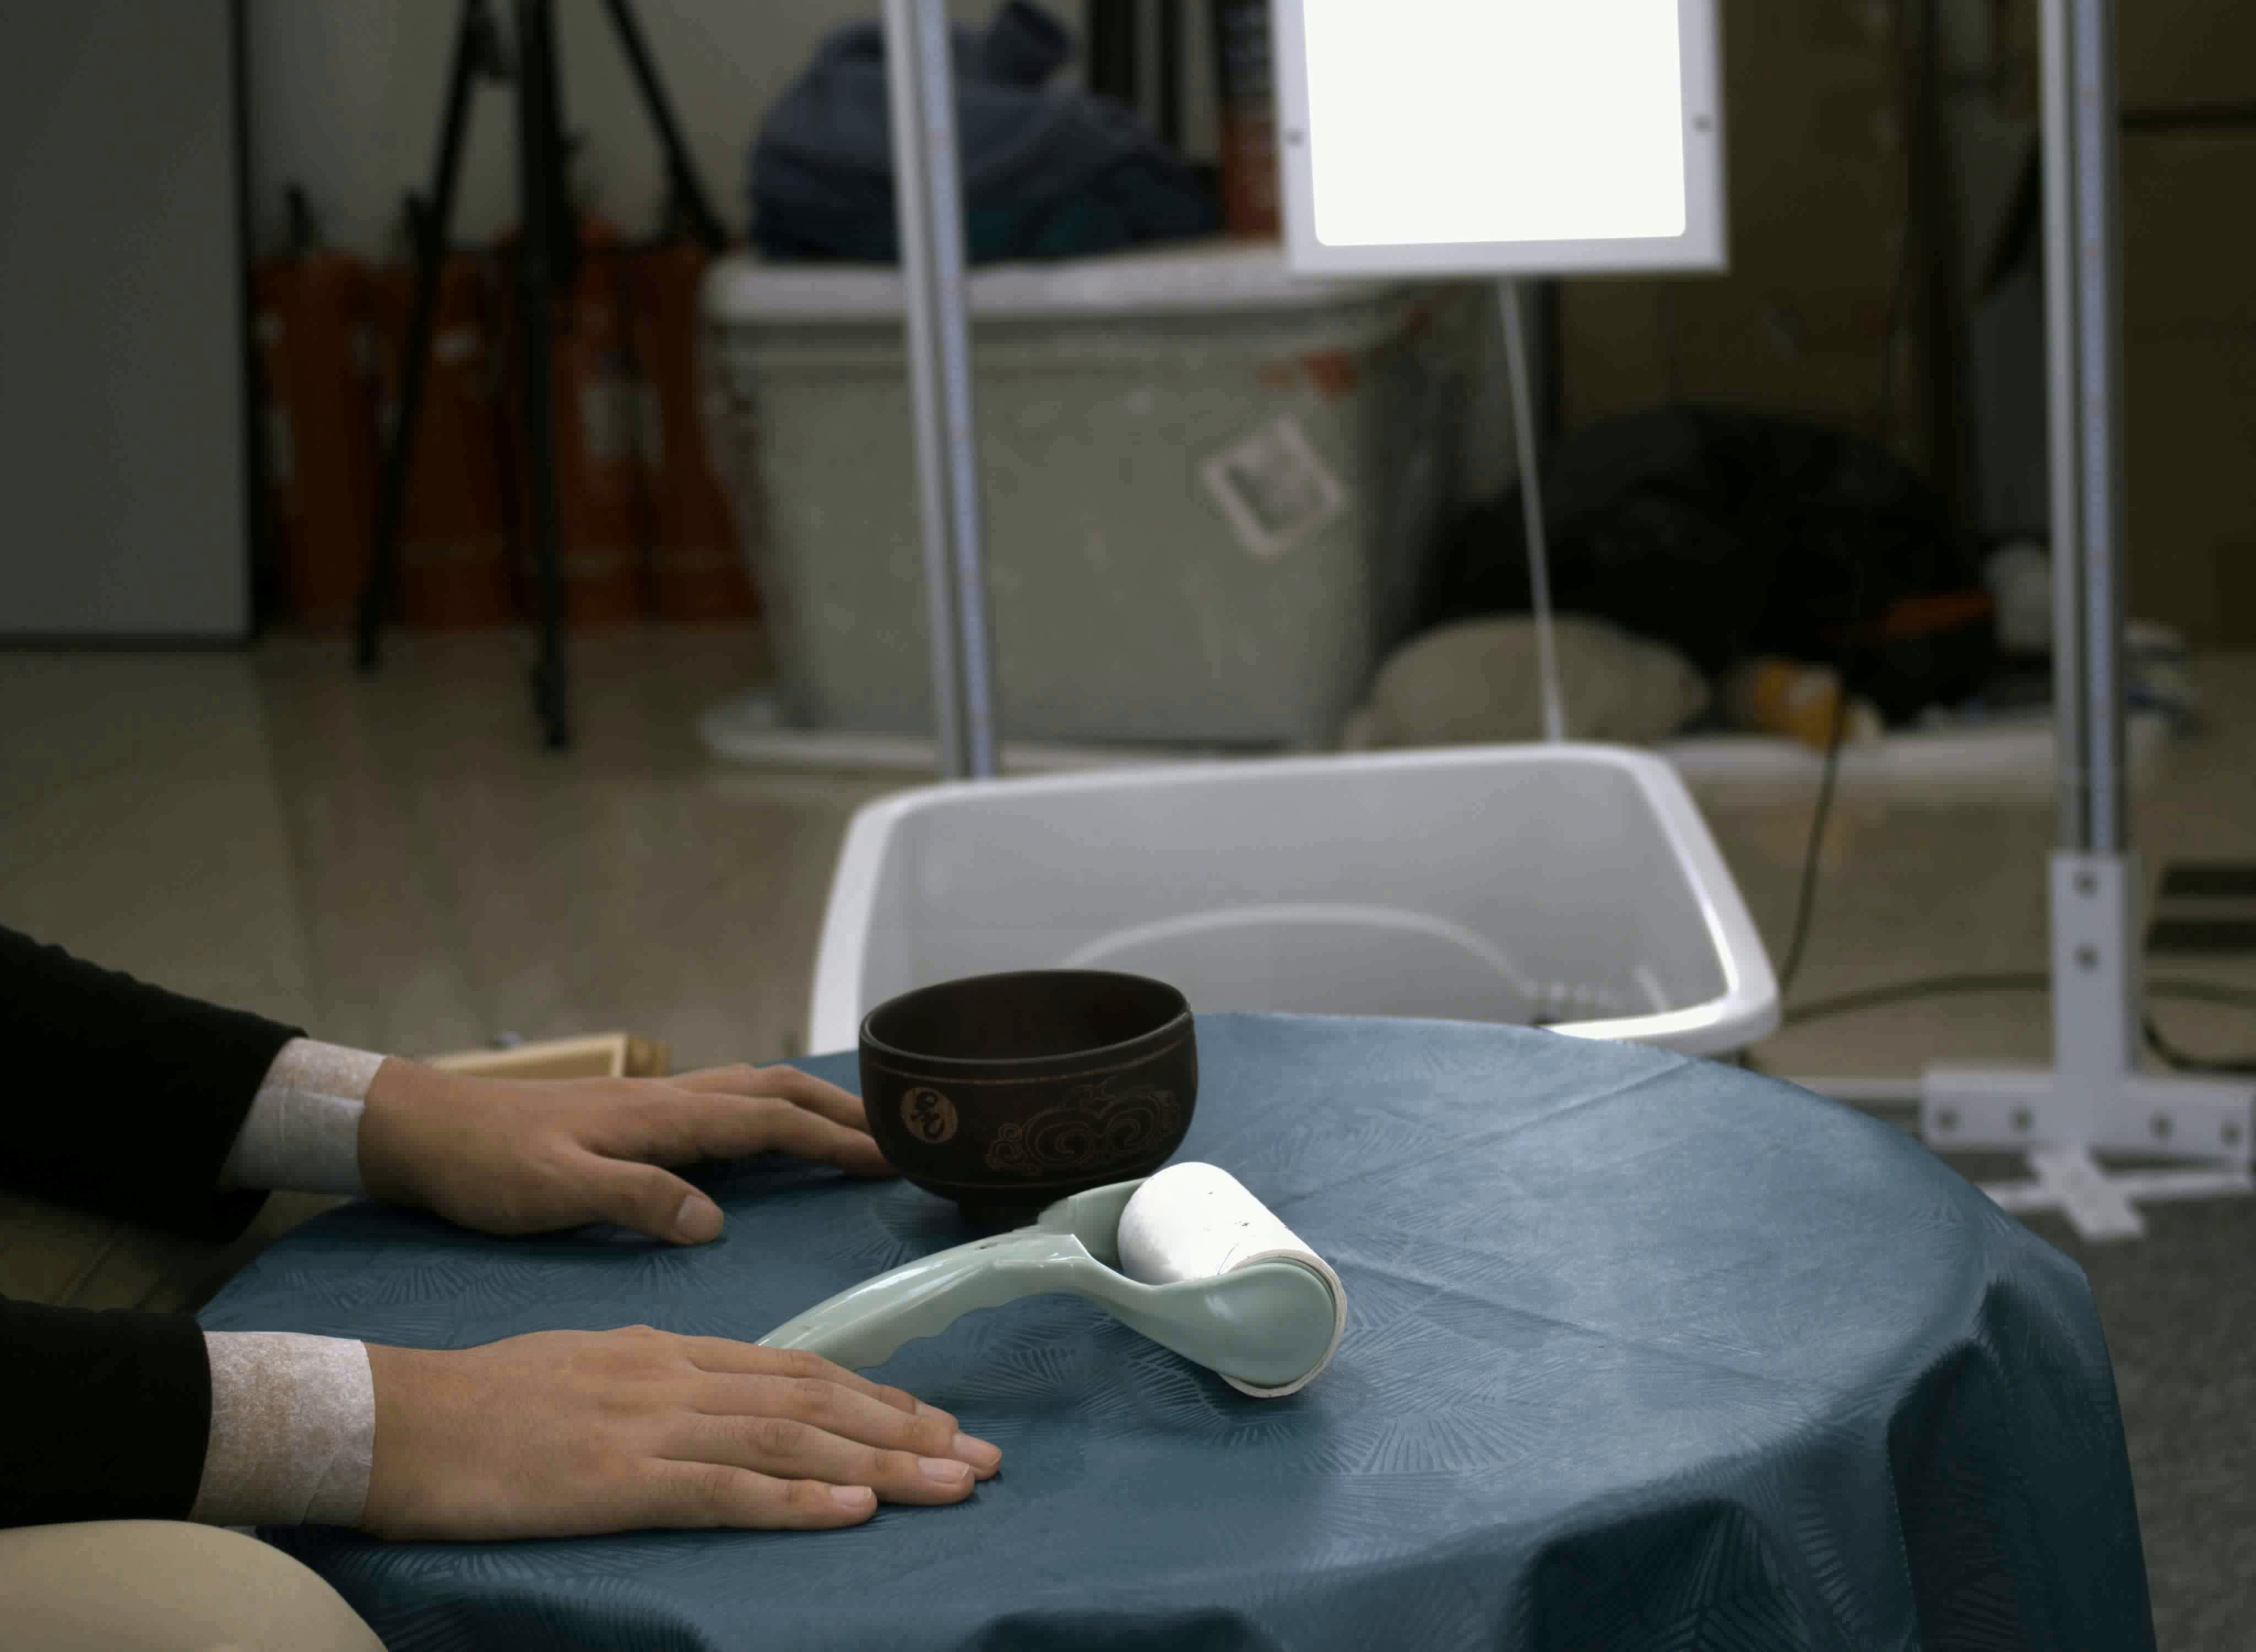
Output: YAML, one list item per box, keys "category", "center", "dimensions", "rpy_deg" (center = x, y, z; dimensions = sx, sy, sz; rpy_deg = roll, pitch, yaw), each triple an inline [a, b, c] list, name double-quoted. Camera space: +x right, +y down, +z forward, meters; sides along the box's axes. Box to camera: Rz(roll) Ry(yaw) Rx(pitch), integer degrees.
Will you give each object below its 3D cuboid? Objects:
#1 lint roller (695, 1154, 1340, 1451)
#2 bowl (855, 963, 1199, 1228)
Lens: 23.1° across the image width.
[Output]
- category: "lint roller"
  center: [-0.041, 0.151, 1.719]
  dimensions: [0.195, 0.048, 0.117]
  rpy_deg: [-10, 15, -12]
- category: "bowl"
  center: [-0.033, 0.096, 1.885]
  dimensions: [0.118, 0.070, 0.118]
  rpy_deg: [-6, 15, 0]
